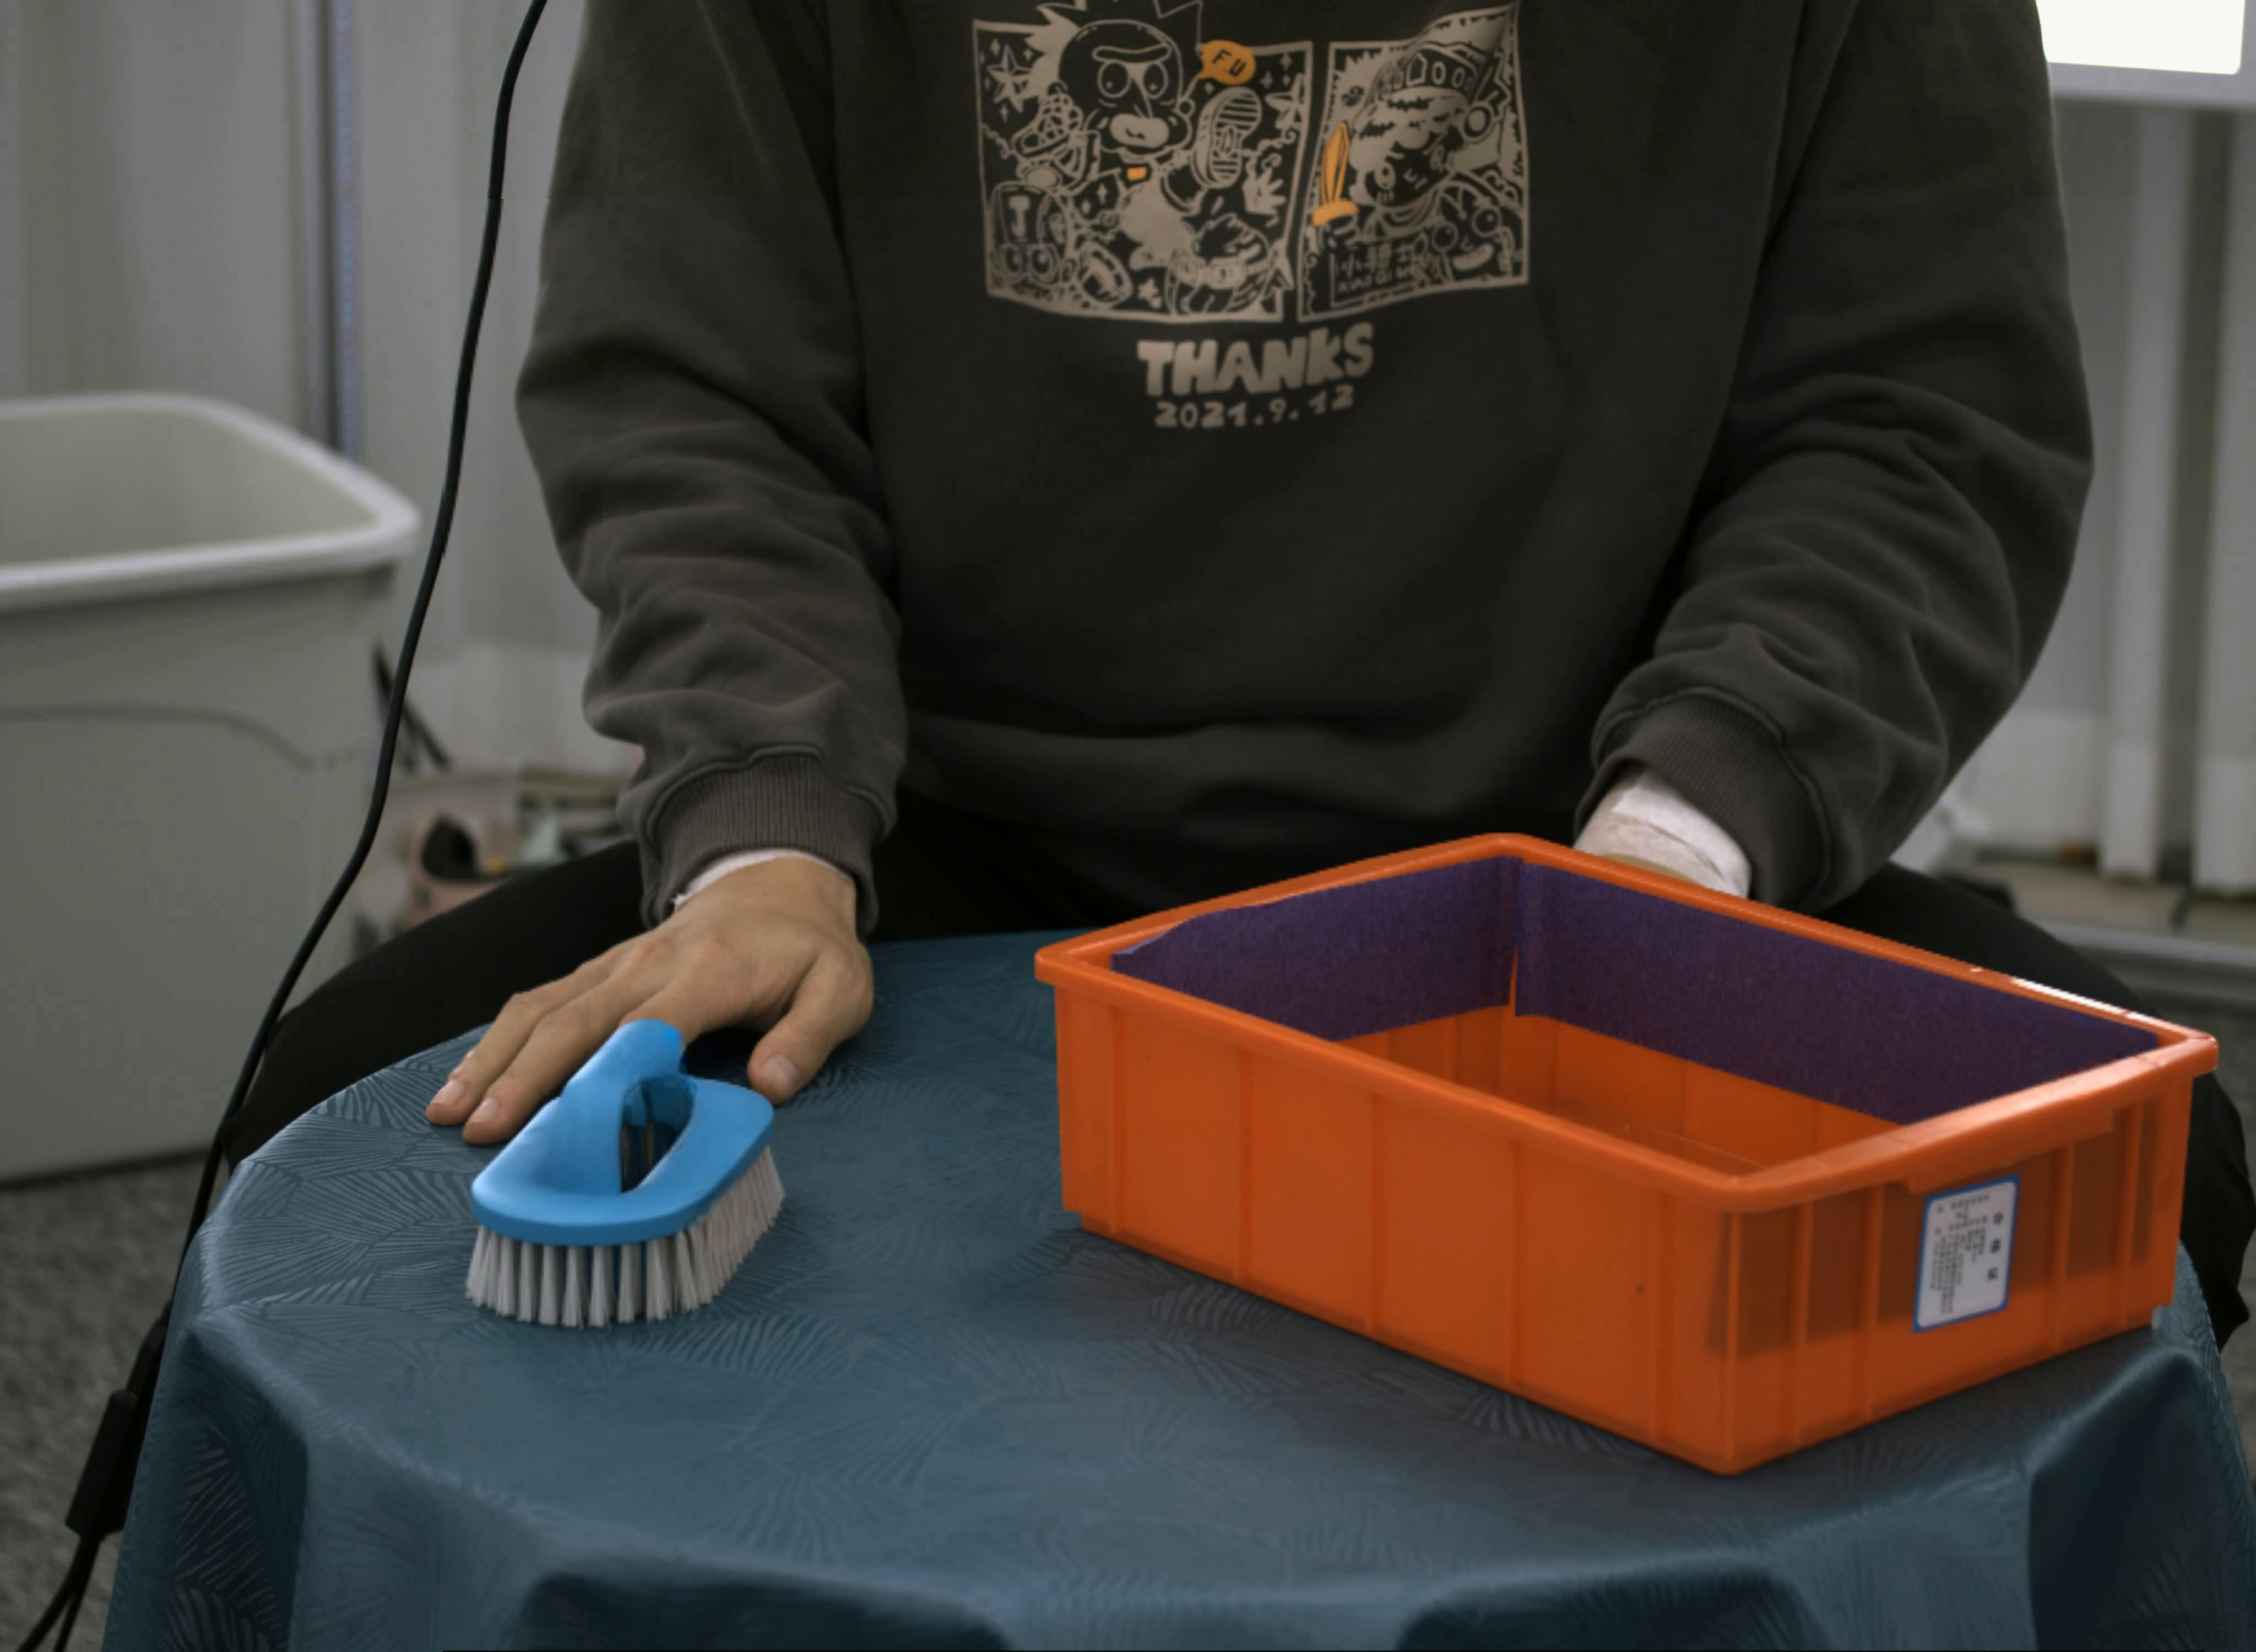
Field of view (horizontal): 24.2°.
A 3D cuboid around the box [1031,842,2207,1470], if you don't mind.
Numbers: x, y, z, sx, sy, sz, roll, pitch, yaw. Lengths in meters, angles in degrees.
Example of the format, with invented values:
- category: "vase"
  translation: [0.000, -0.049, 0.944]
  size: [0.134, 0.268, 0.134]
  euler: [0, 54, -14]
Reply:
- category: "box"
  translation: [0.139, 0.091, 1.552]
  size: [0.207, 0.097, 0.299]
  euler: [-13, 21, -39]

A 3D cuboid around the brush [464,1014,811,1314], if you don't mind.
- category: "brush"
  translation: [-0.147, 0.094, 1.568]
  size: [0.084, 0.064, 0.141]
  euler: [-1, 14, 14]
